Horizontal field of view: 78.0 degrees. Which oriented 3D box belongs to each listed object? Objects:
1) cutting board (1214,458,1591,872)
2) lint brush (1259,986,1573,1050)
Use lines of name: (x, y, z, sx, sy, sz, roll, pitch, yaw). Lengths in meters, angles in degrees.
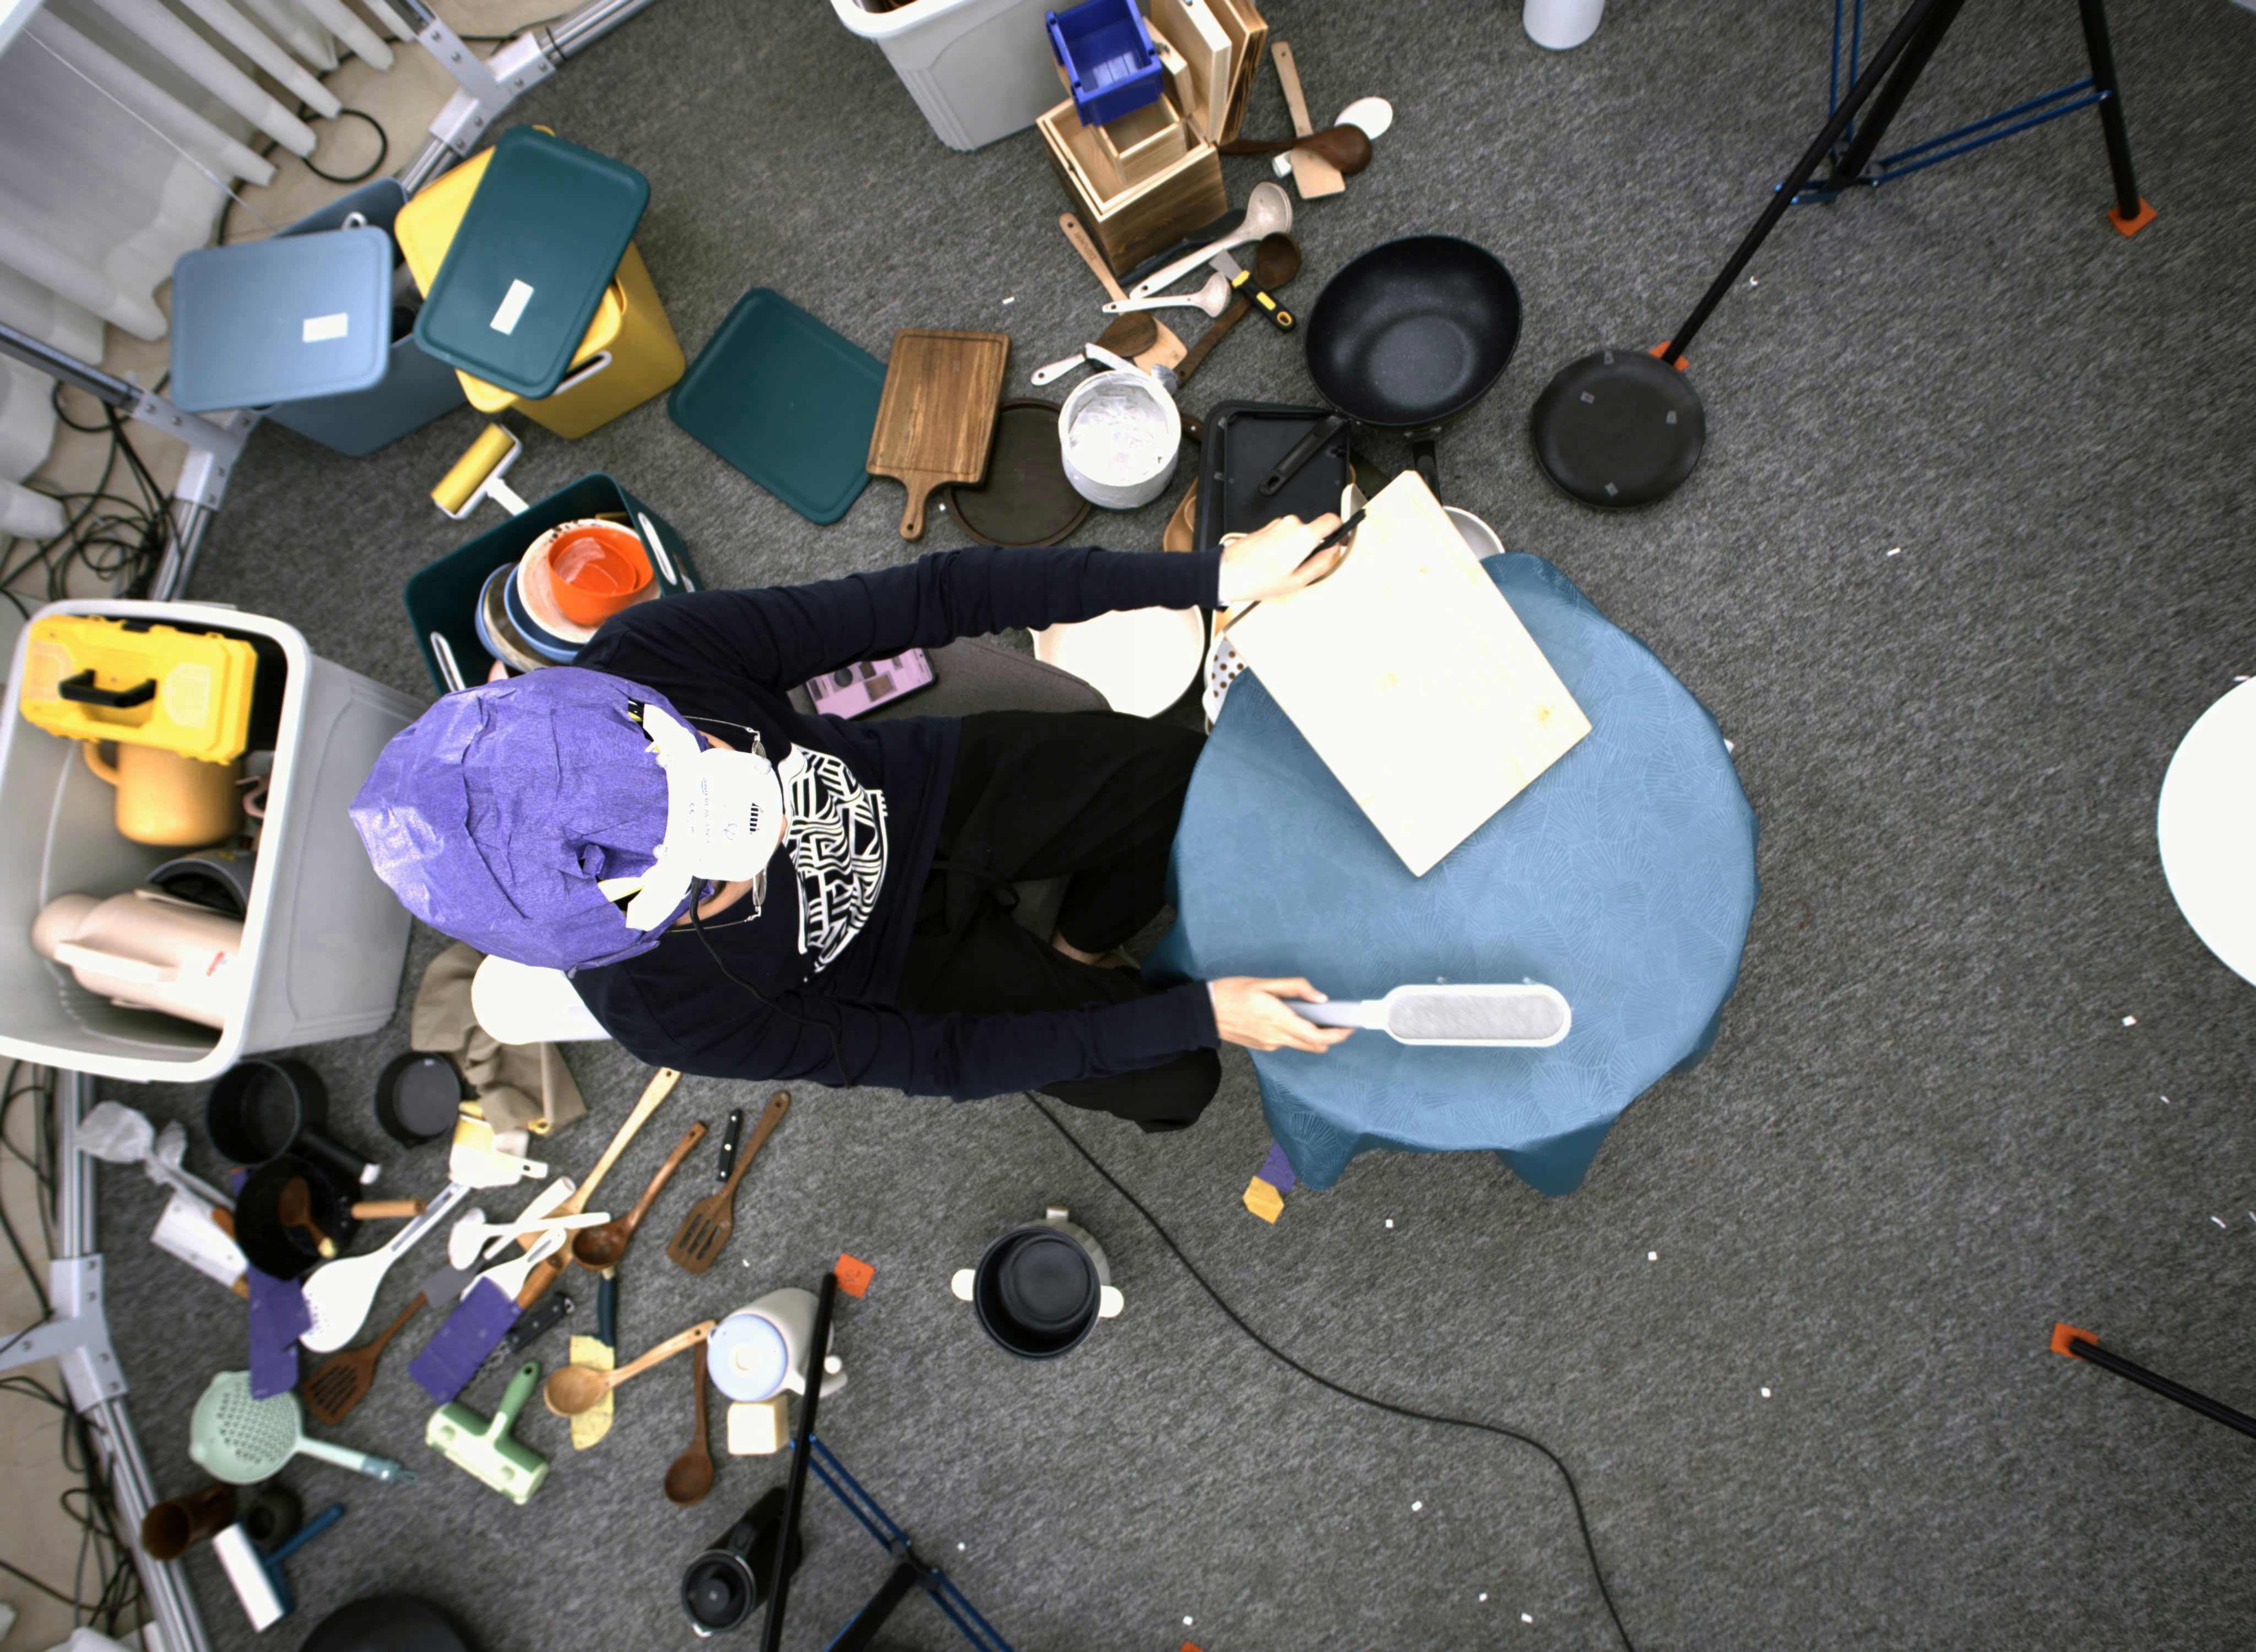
cutting board: (0.281, -0.151, 1.369, 0.251, 0.023, 0.352, -41, 112, 4)
lint brush: (0.282, 0.187, 1.374, 0.310, 0.021, 0.060, -1, 91, 16)
